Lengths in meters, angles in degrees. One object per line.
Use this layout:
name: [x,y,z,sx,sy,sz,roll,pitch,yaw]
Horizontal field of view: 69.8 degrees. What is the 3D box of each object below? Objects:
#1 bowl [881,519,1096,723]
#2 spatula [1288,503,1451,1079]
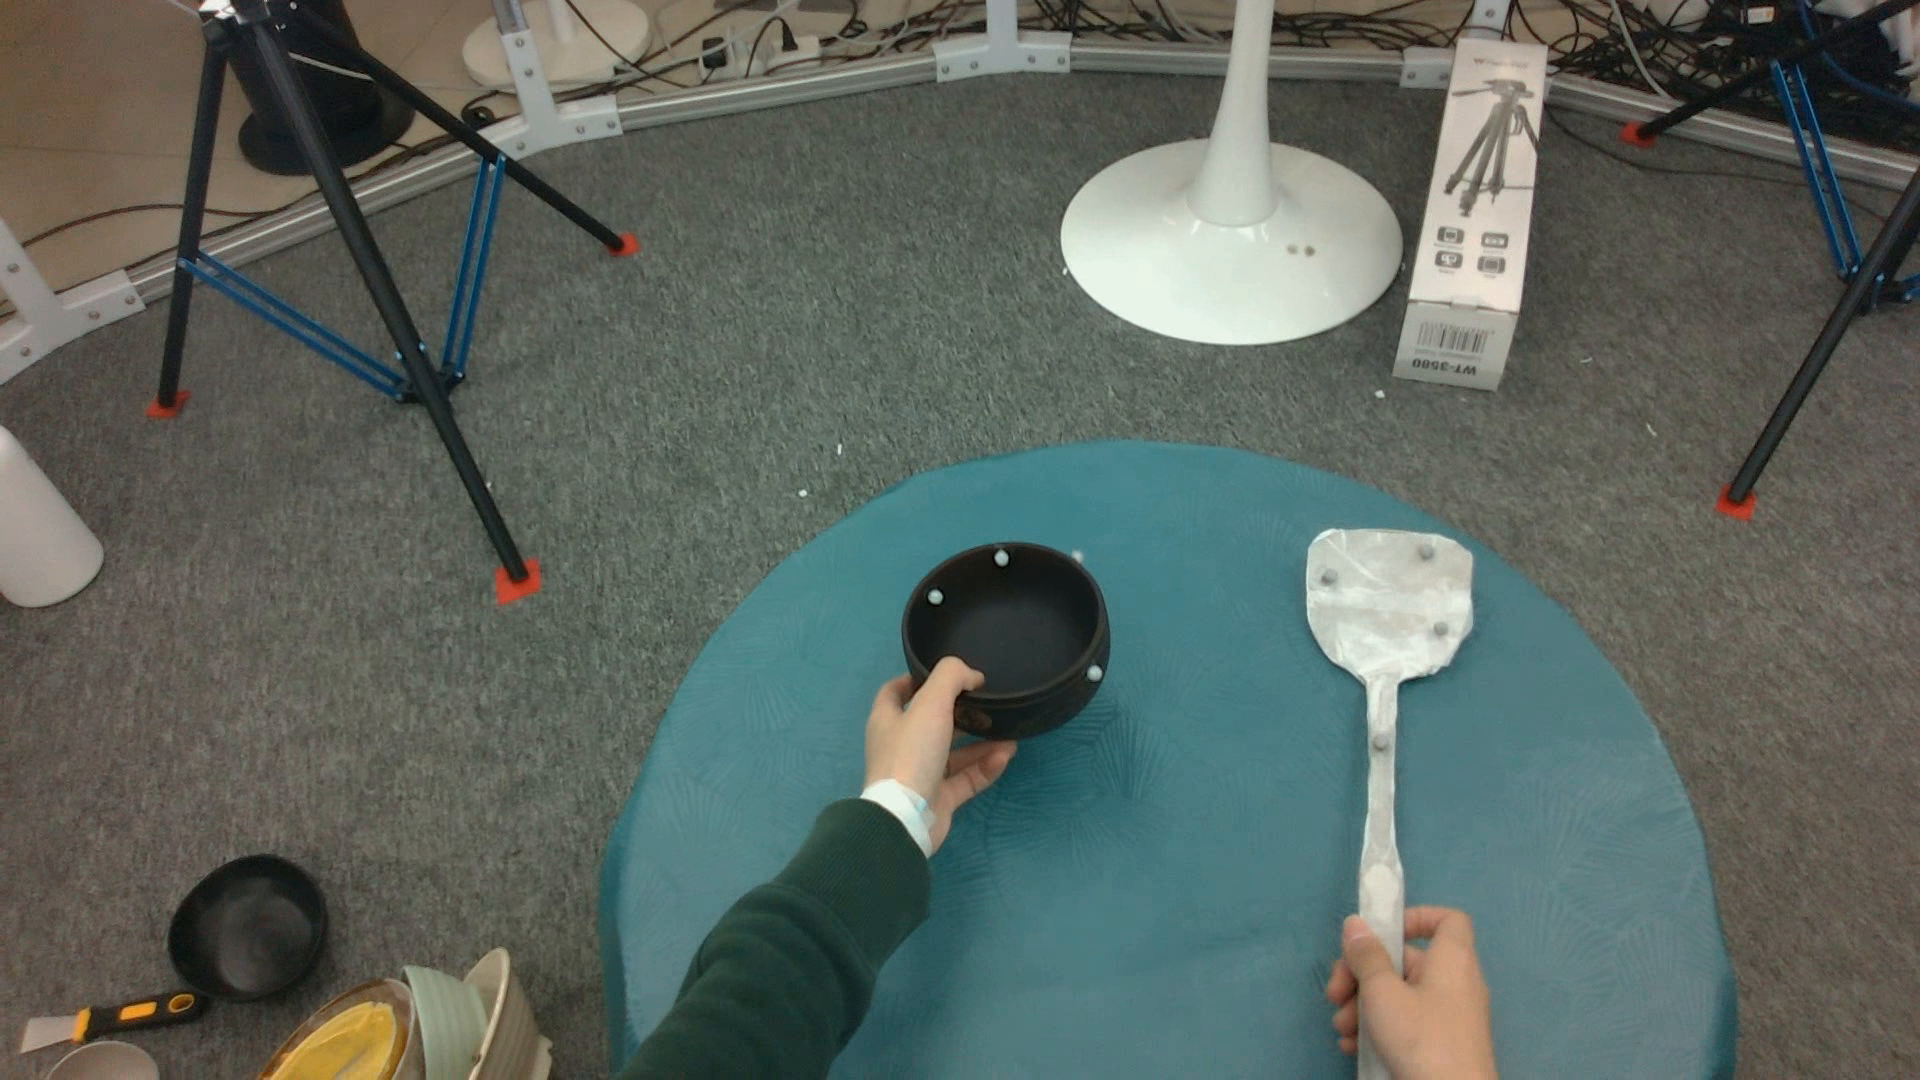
bowl: [0.019,0.053,0.776,0.118,0.069,0.118,-7,48,7]
spatula: [0.220,0.116,0.756,0.098,0.044,0.367,4,43,15]
